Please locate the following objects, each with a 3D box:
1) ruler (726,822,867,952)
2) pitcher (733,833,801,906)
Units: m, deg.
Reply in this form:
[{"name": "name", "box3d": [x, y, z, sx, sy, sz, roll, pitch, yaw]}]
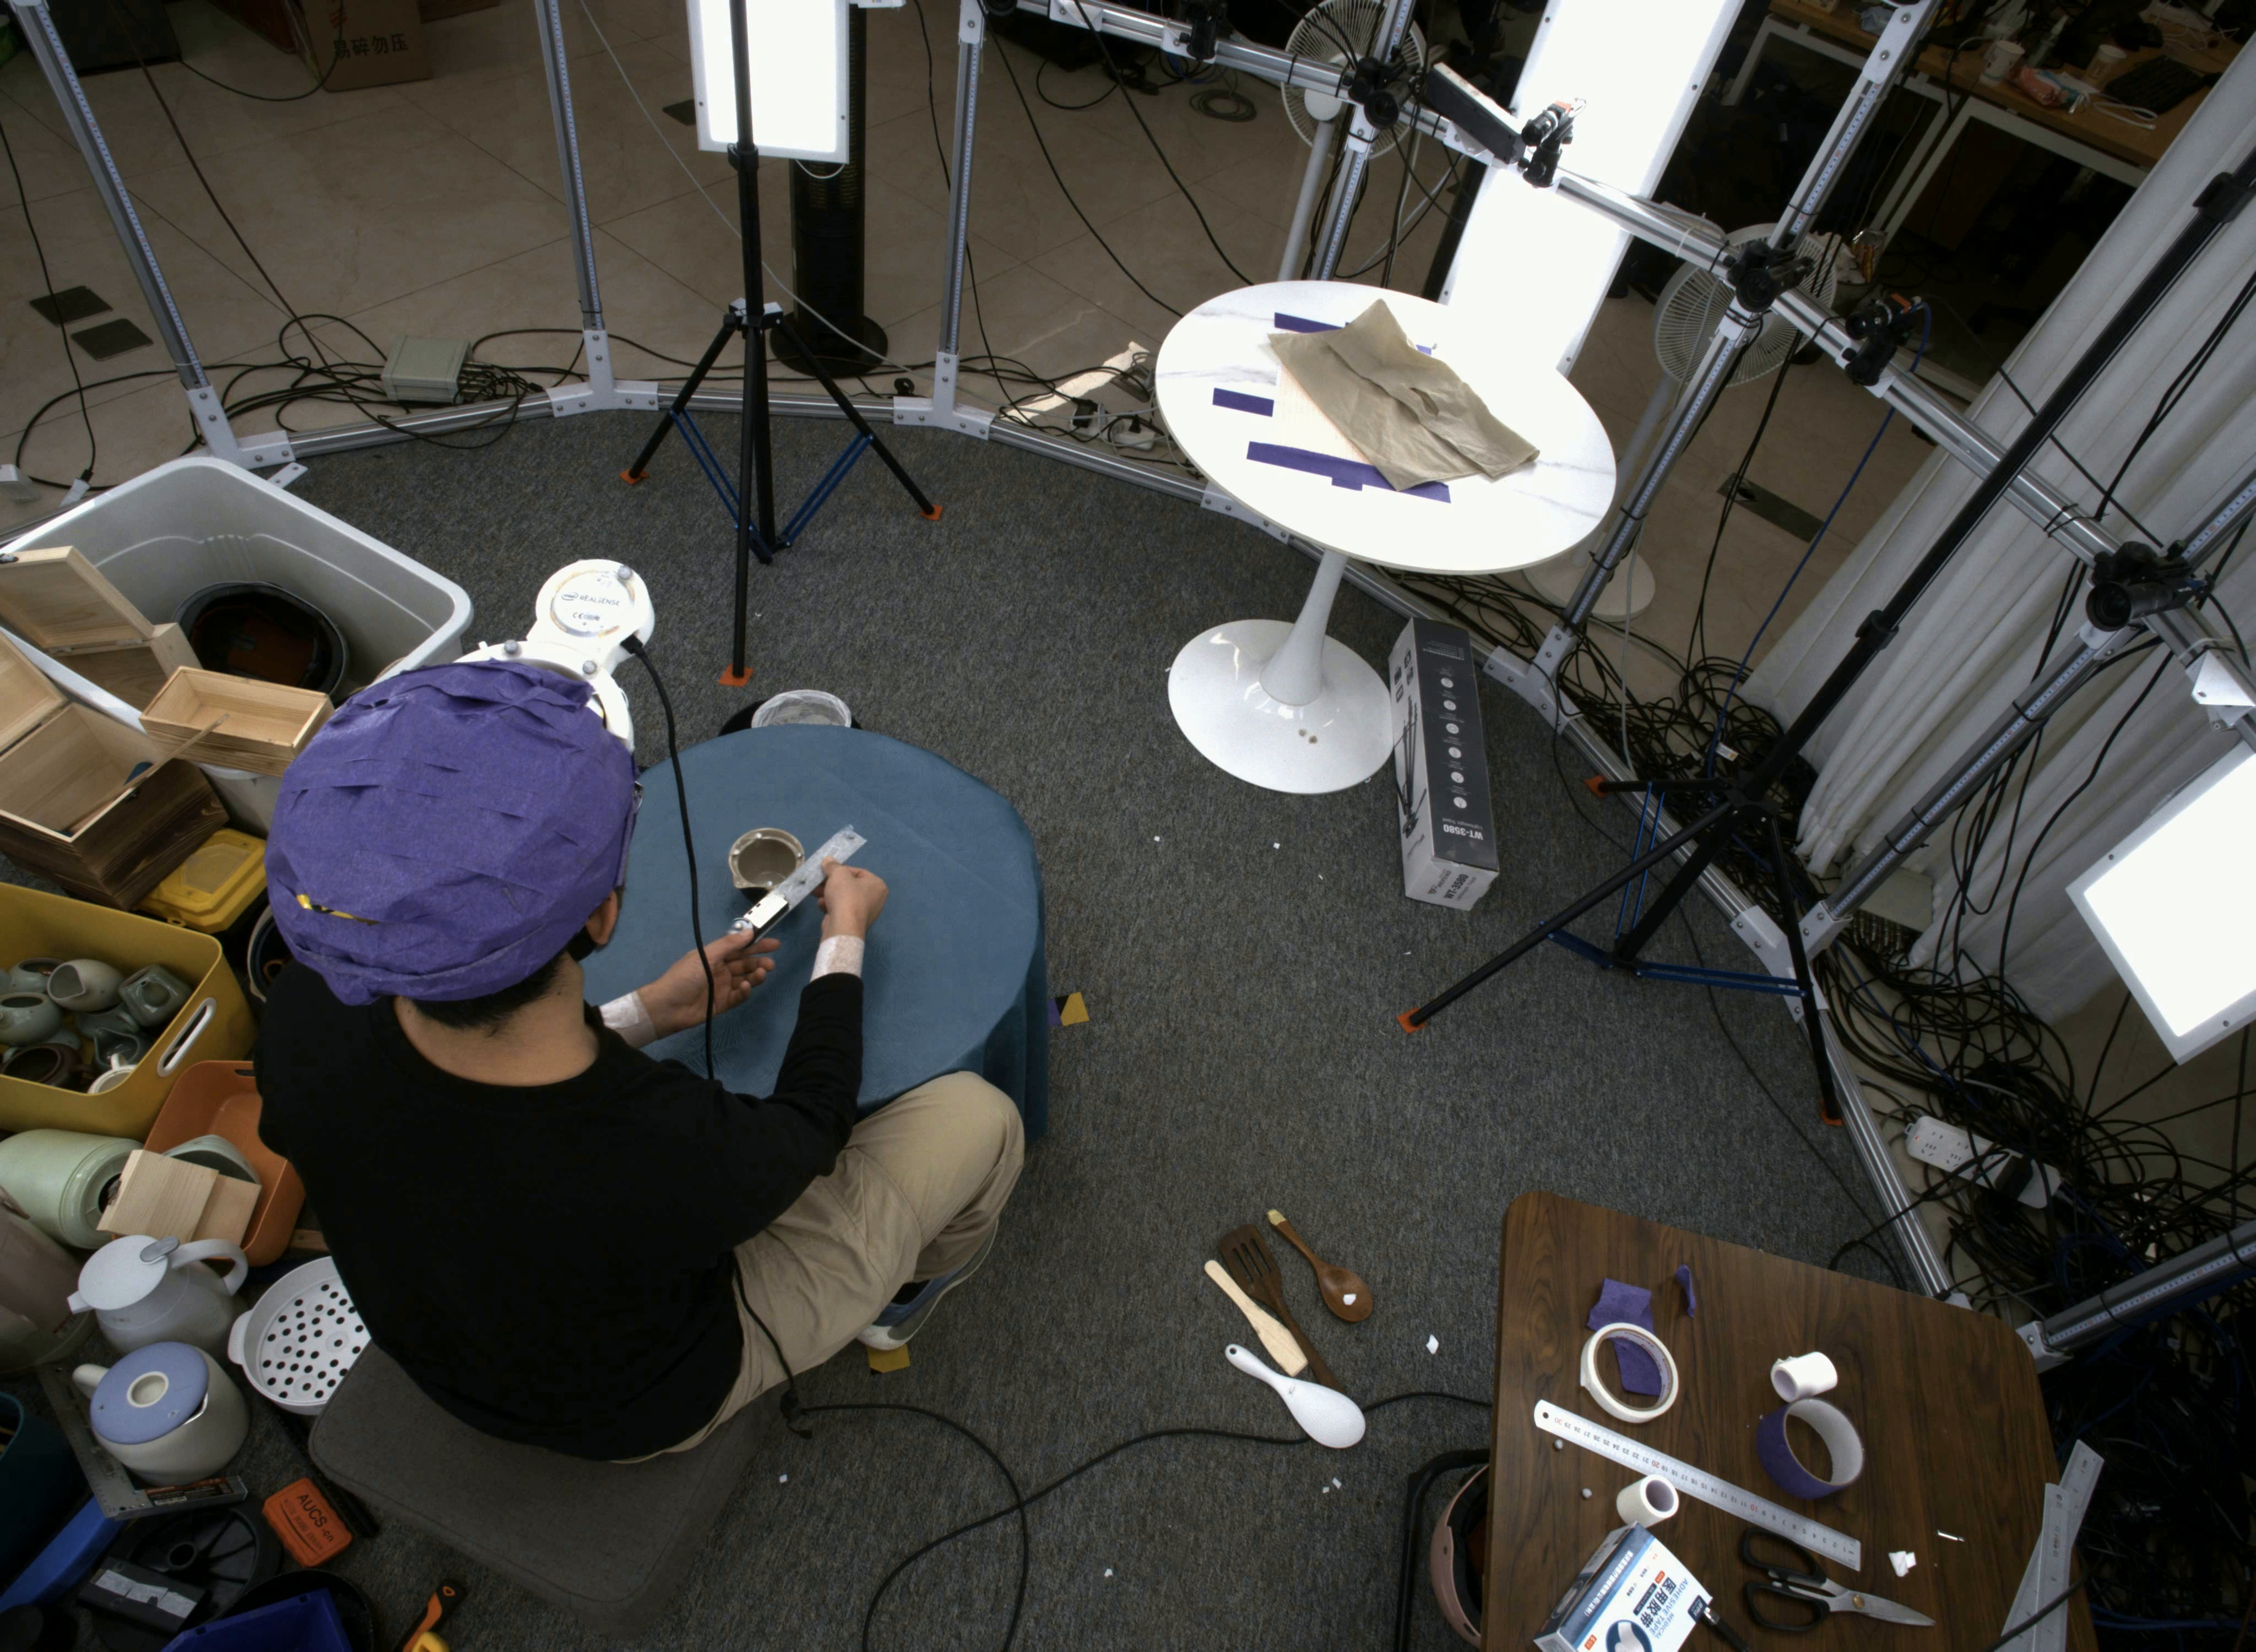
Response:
[{"name": "ruler", "box3d": [-0.397, 0.066, 1.549, 0.038, 0.024, 0.218, 36, 56, 8]}, {"name": "pitcher", "box3d": [-0.454, 0.062, 1.617, 0.082, 0.073, 0.096, 31, 51, 11]}]
